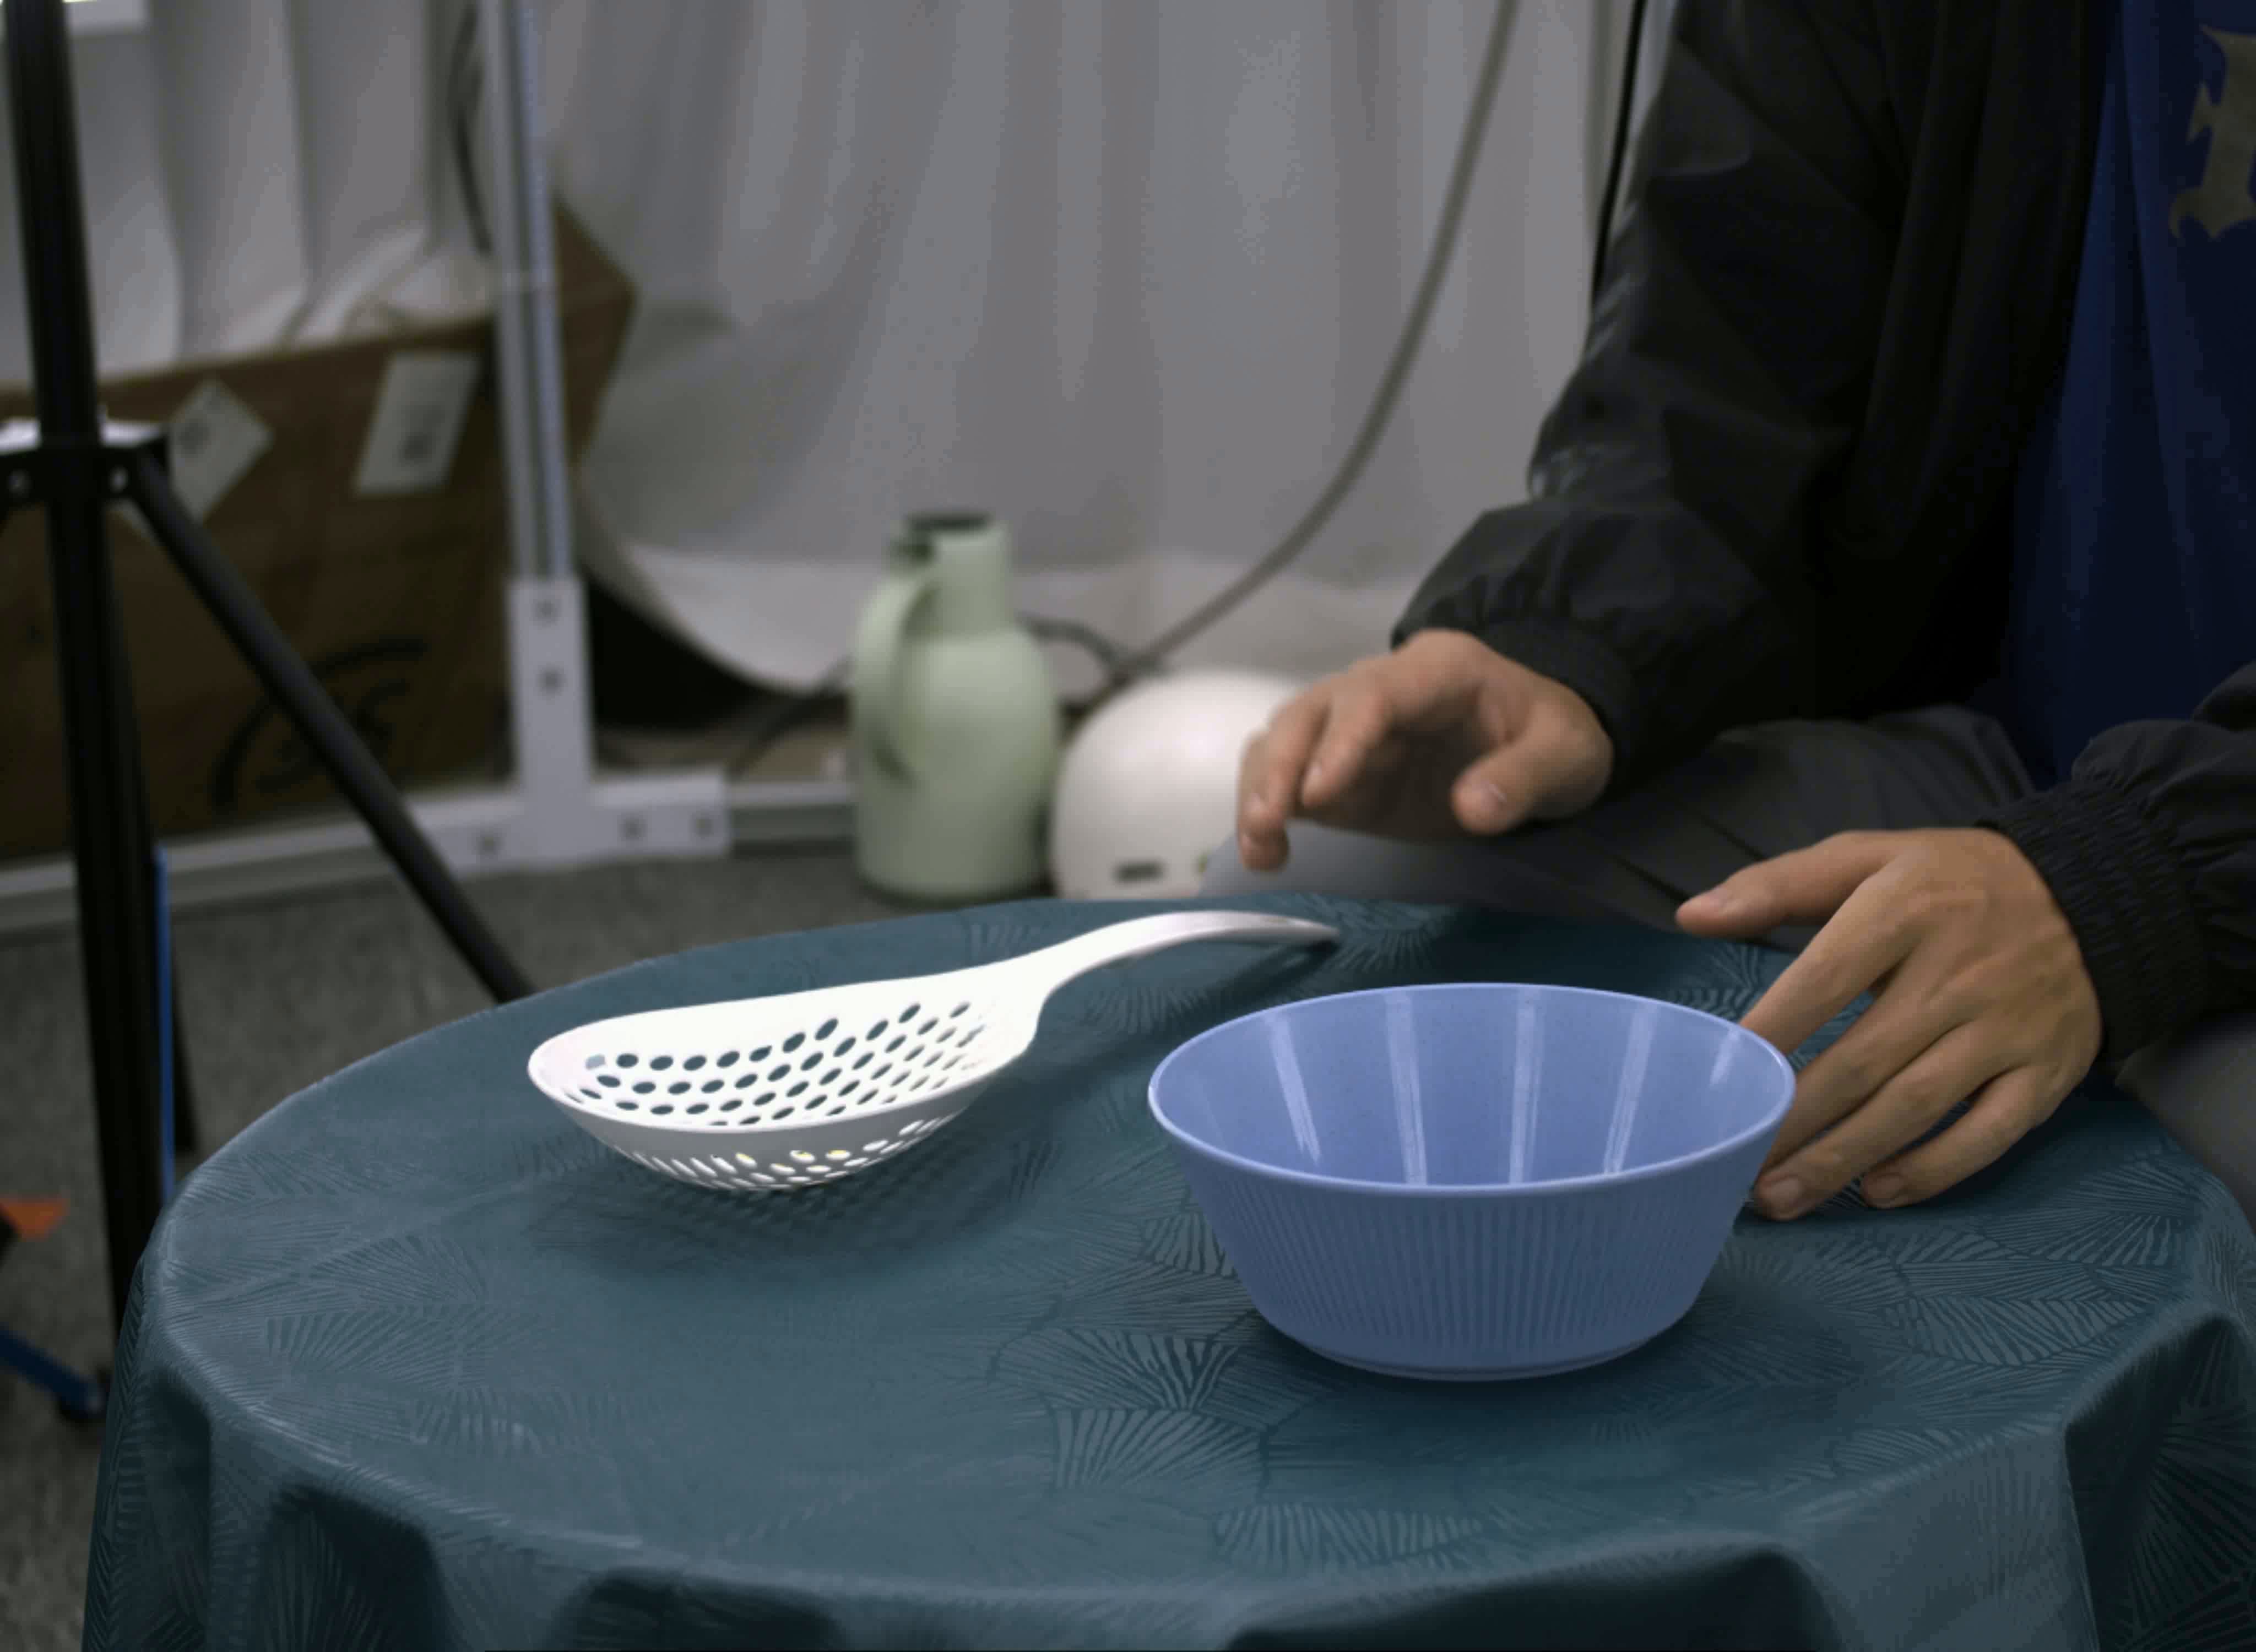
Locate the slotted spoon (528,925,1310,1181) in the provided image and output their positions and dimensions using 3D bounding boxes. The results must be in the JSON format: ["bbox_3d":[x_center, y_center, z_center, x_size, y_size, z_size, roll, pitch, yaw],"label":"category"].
[{"bbox_3d":[-0.041,0.059,1.661,0.139,0.050,0.340,5,17,38],"label":"slotted spoon"}]

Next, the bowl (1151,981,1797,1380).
[{"bbox_3d":[0.094,0.099,1.445,0.175,0.070,0.177,-2,16,-1],"label":"bowl"}]
